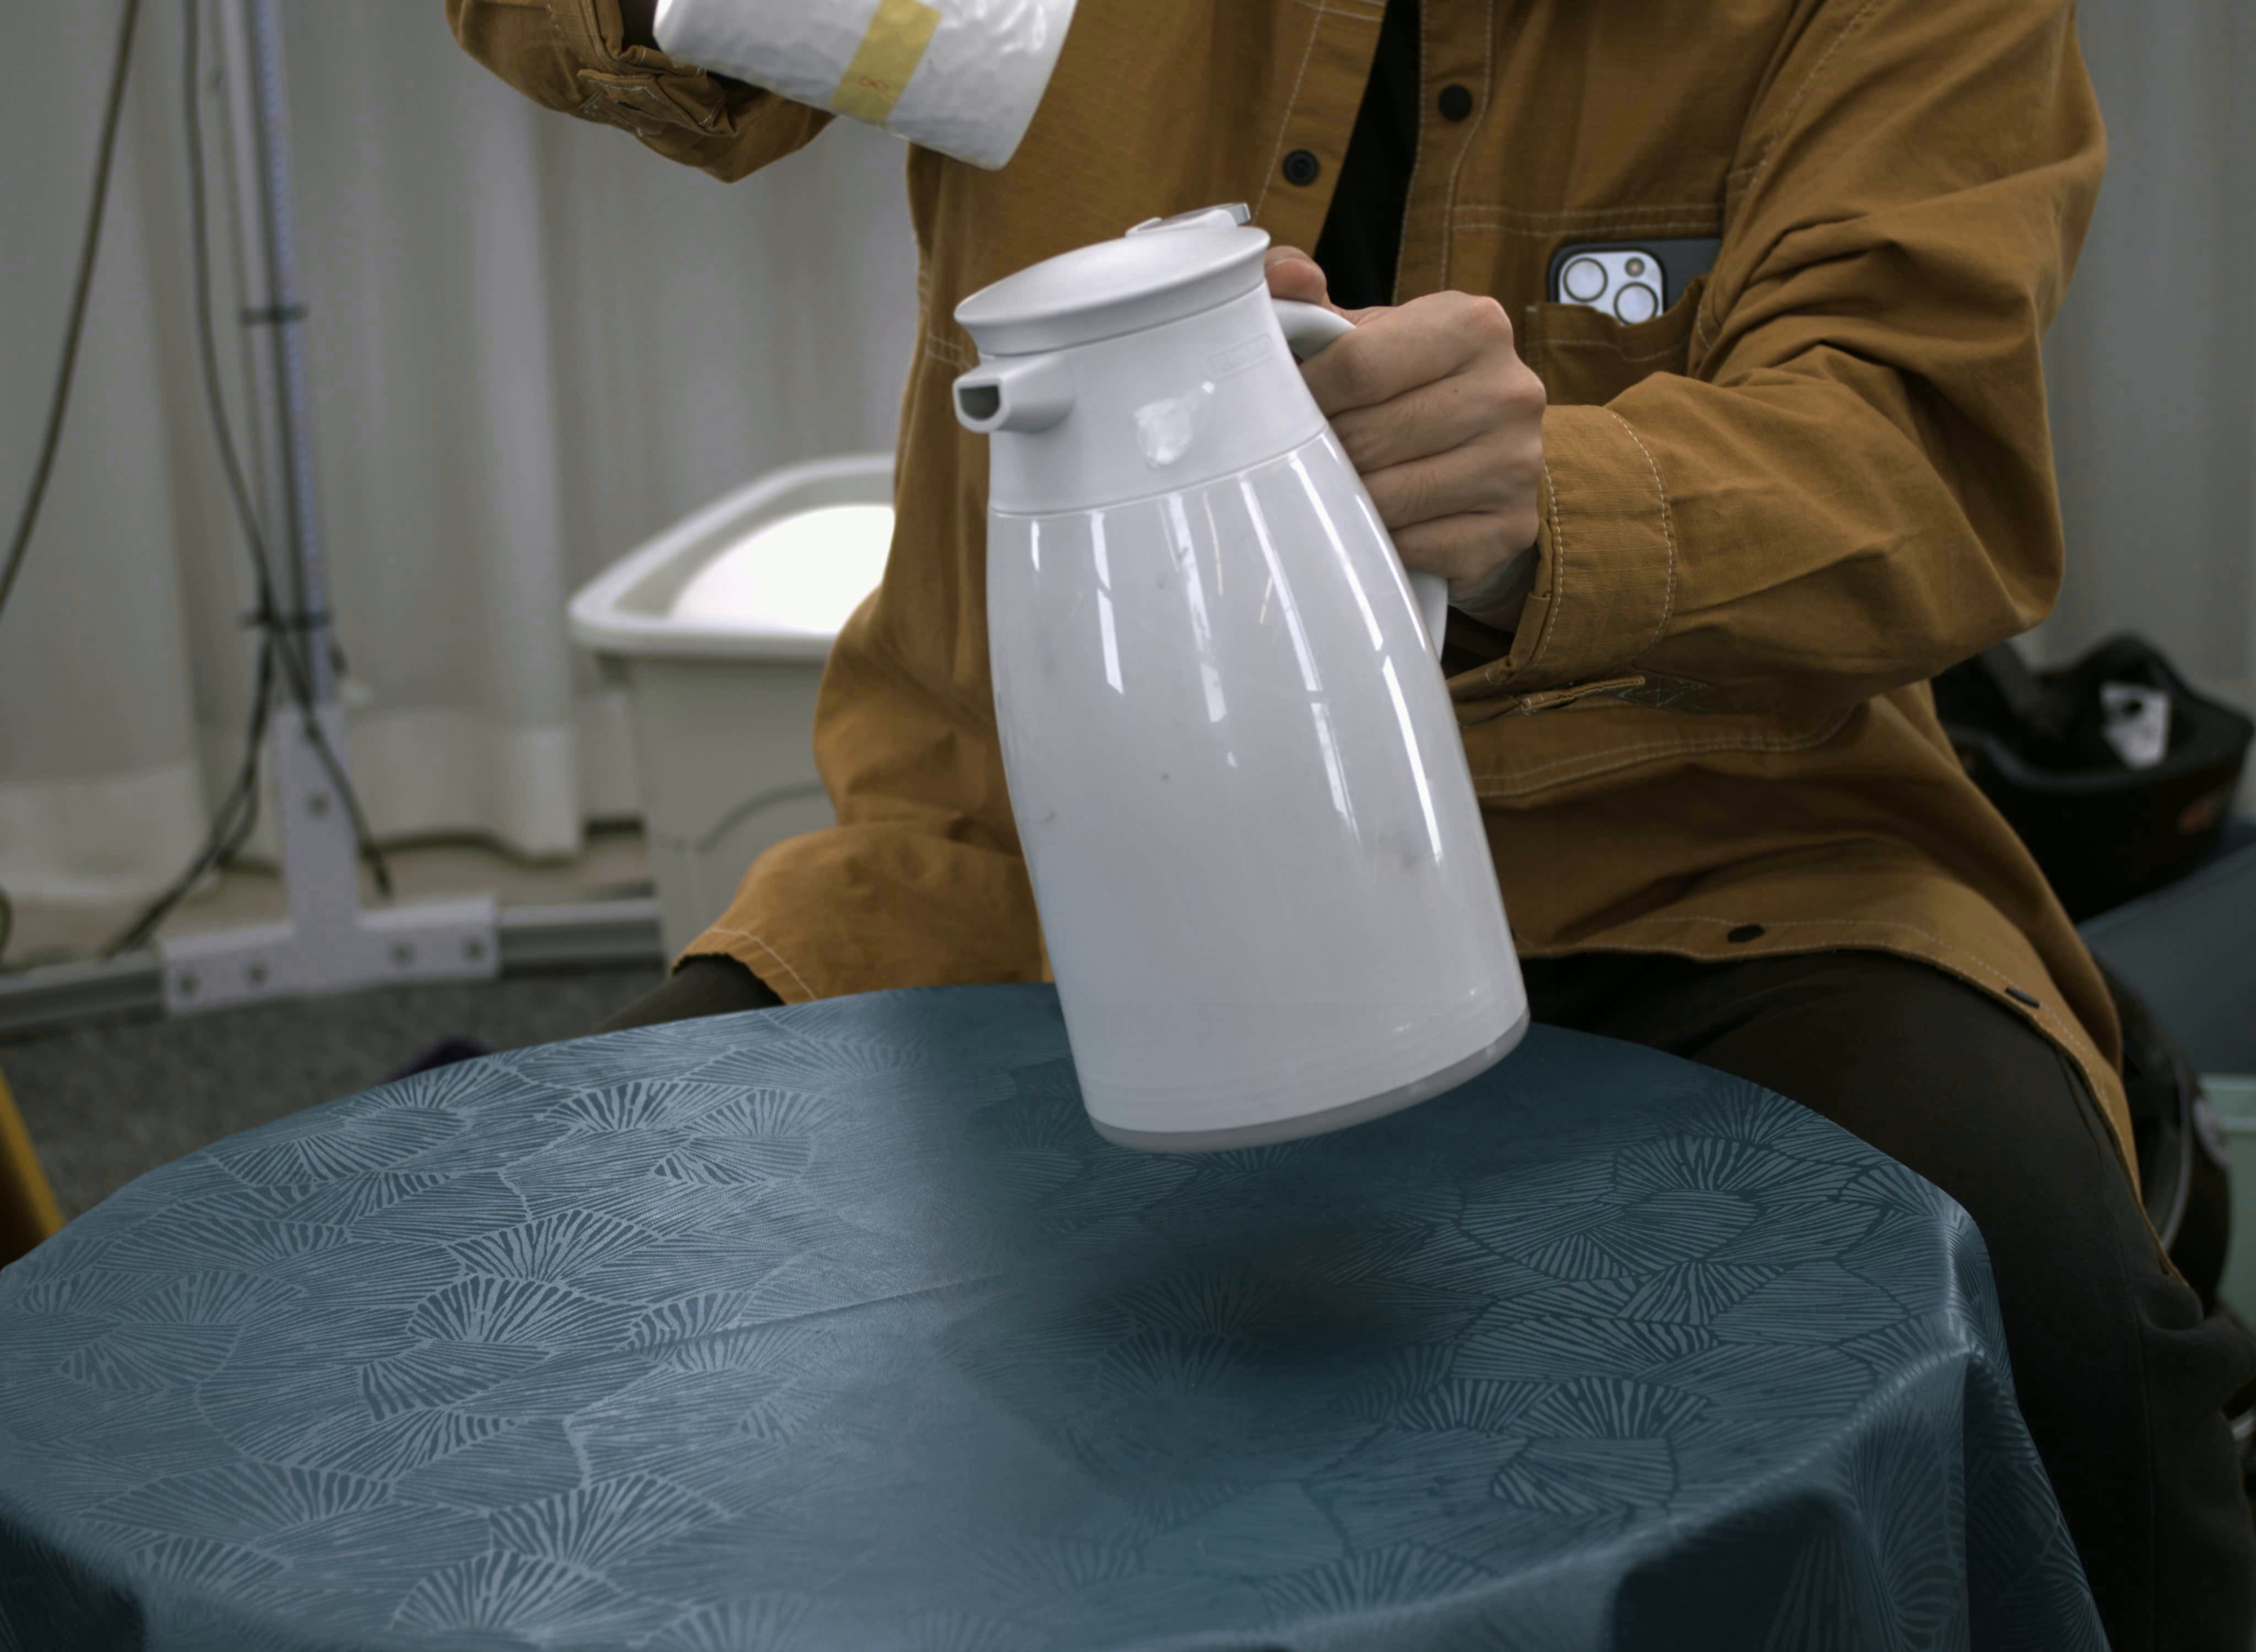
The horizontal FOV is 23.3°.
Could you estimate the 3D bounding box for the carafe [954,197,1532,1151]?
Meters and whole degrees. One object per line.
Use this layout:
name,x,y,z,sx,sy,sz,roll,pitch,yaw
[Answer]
carafe,0.034,-0.052,1.573,0.133,0.248,0.168,-4,15,43

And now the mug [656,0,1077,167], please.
mug,-0.070,-0.245,1.519,0.101,0.084,0.120,18,25,-11
